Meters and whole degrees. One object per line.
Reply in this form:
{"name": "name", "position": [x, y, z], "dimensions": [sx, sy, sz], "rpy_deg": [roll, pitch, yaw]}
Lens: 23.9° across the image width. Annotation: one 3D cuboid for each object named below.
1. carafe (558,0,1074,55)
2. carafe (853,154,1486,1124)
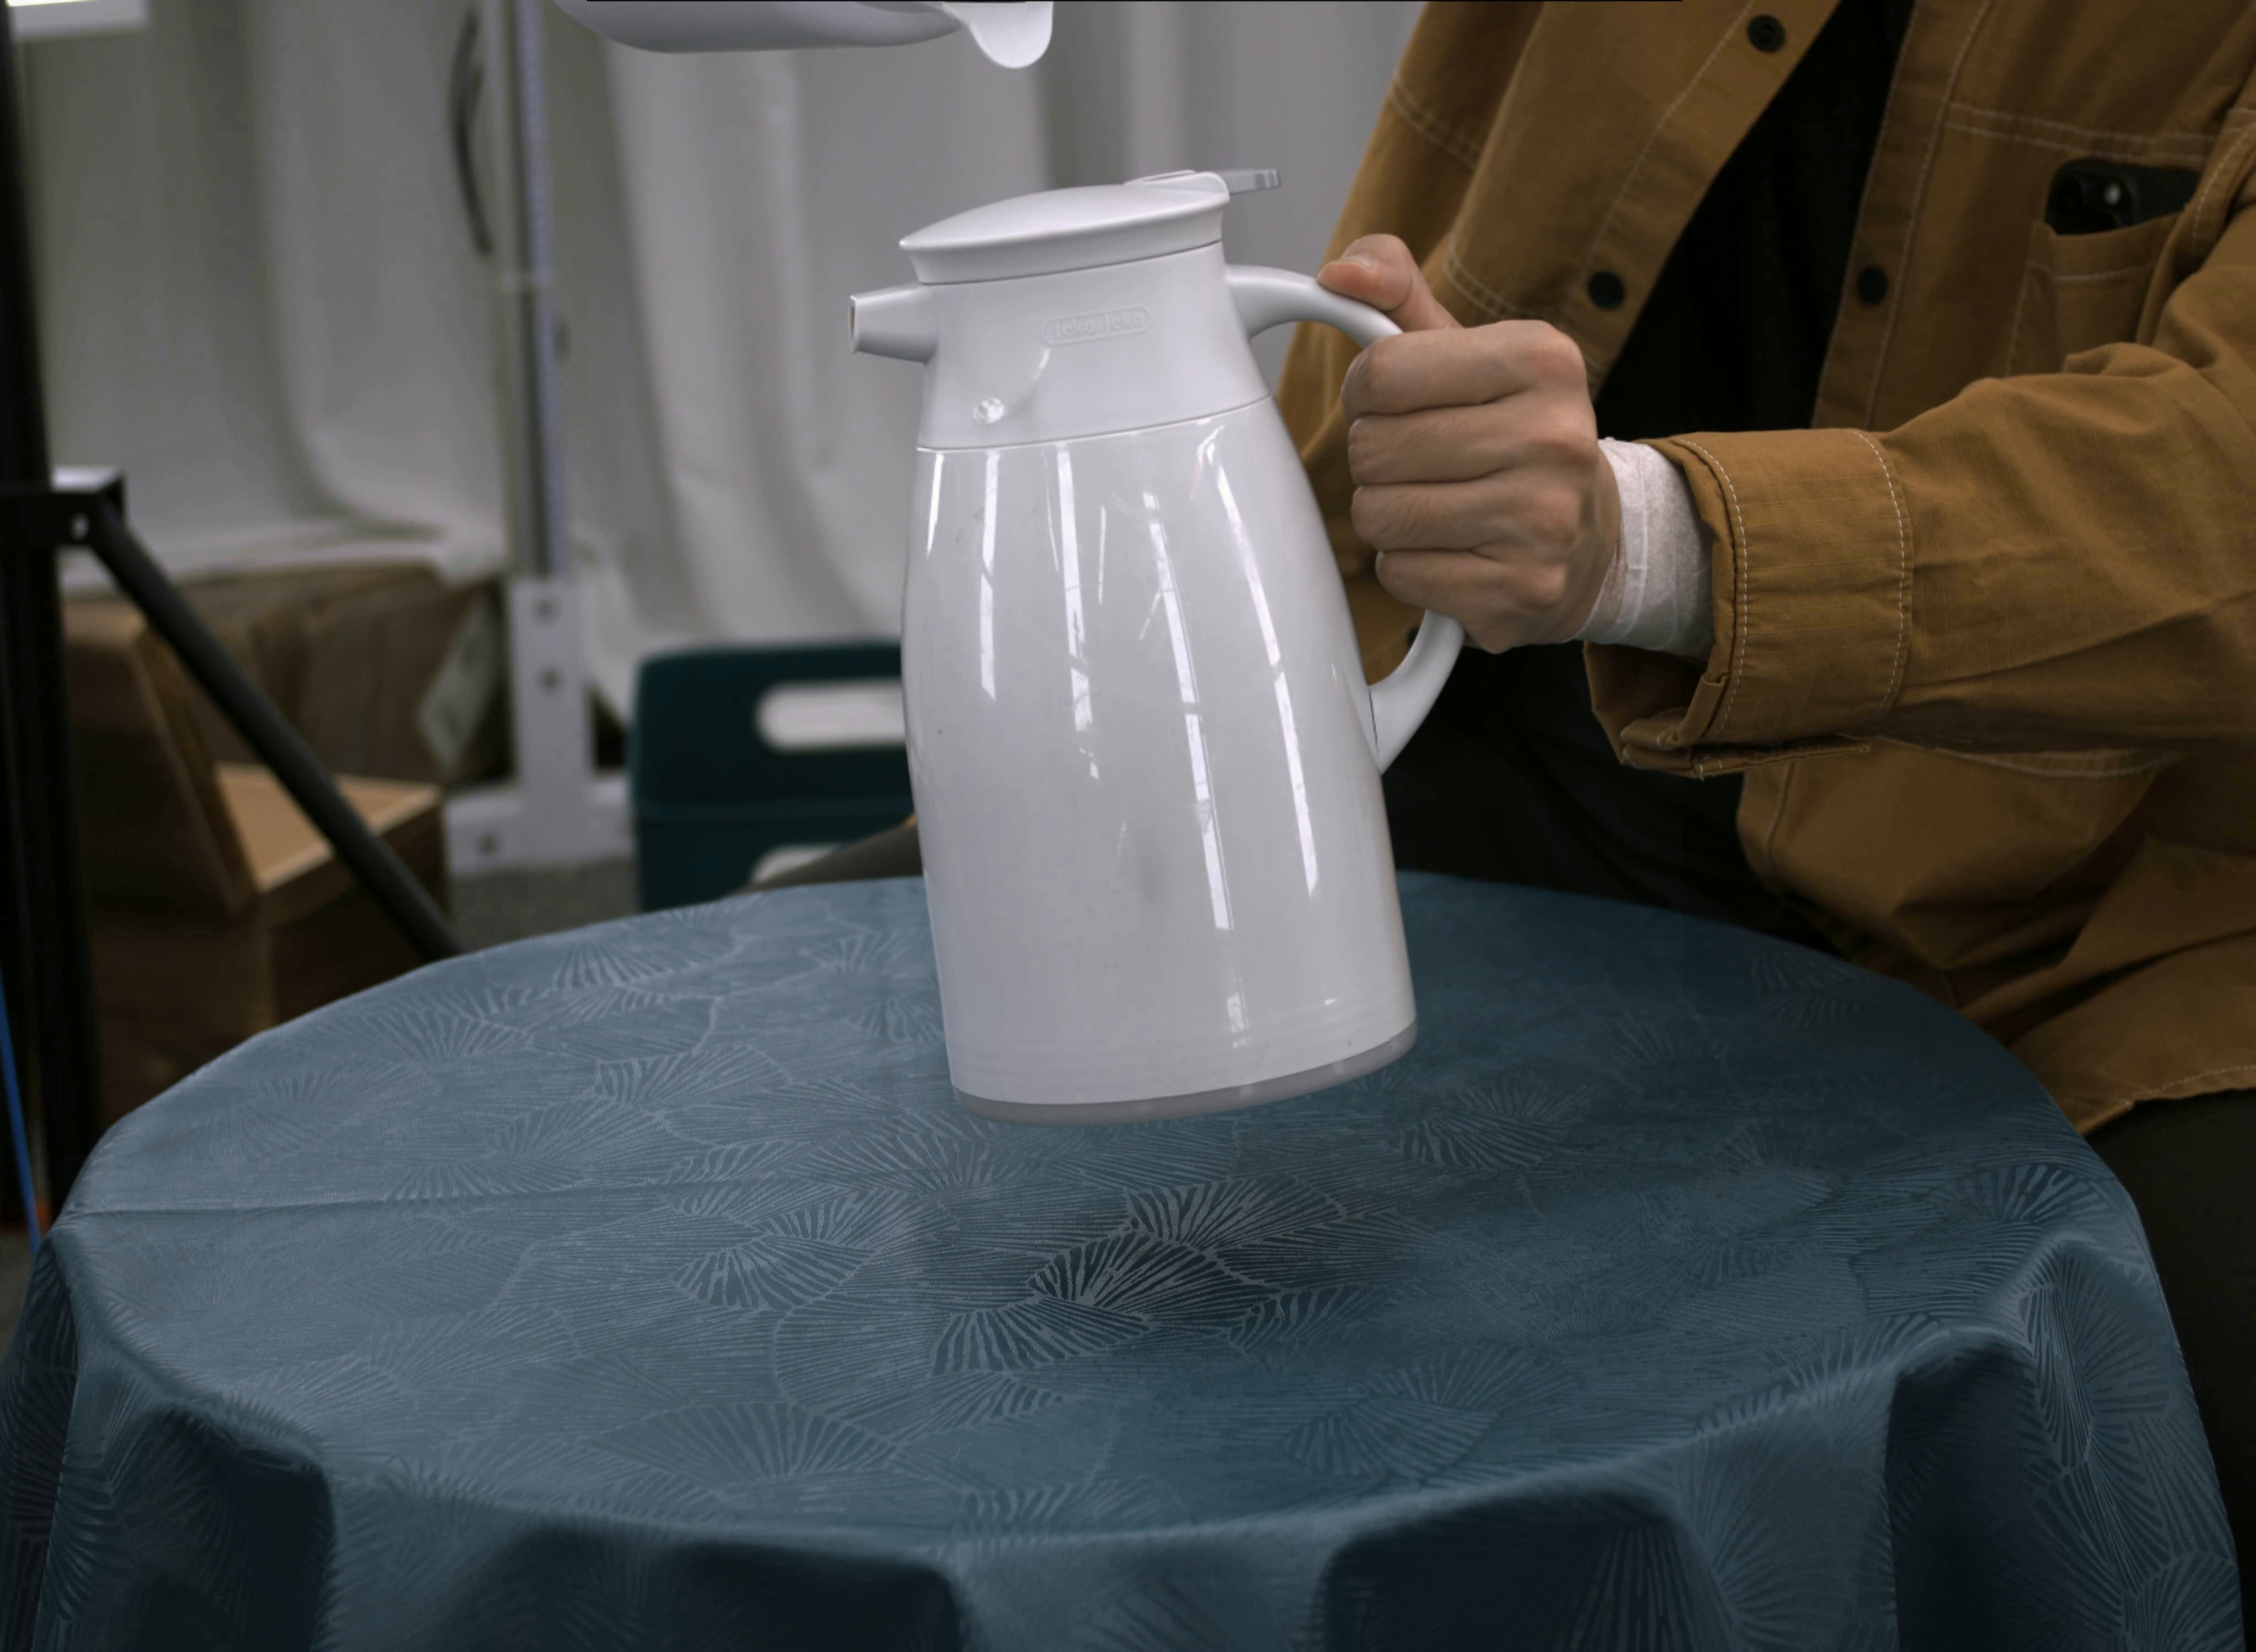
{"name": "carafe", "position": [-0.098, -0.301, 1.541], "dimensions": [0.122, 0.172, 0.273], "rpy_deg": [-22, 13, -17]}
{"name": "carafe", "position": [0.018, -0.057, 1.467], "dimensions": [0.166, 0.249, 0.133], "rpy_deg": [-8, 9, -6]}
